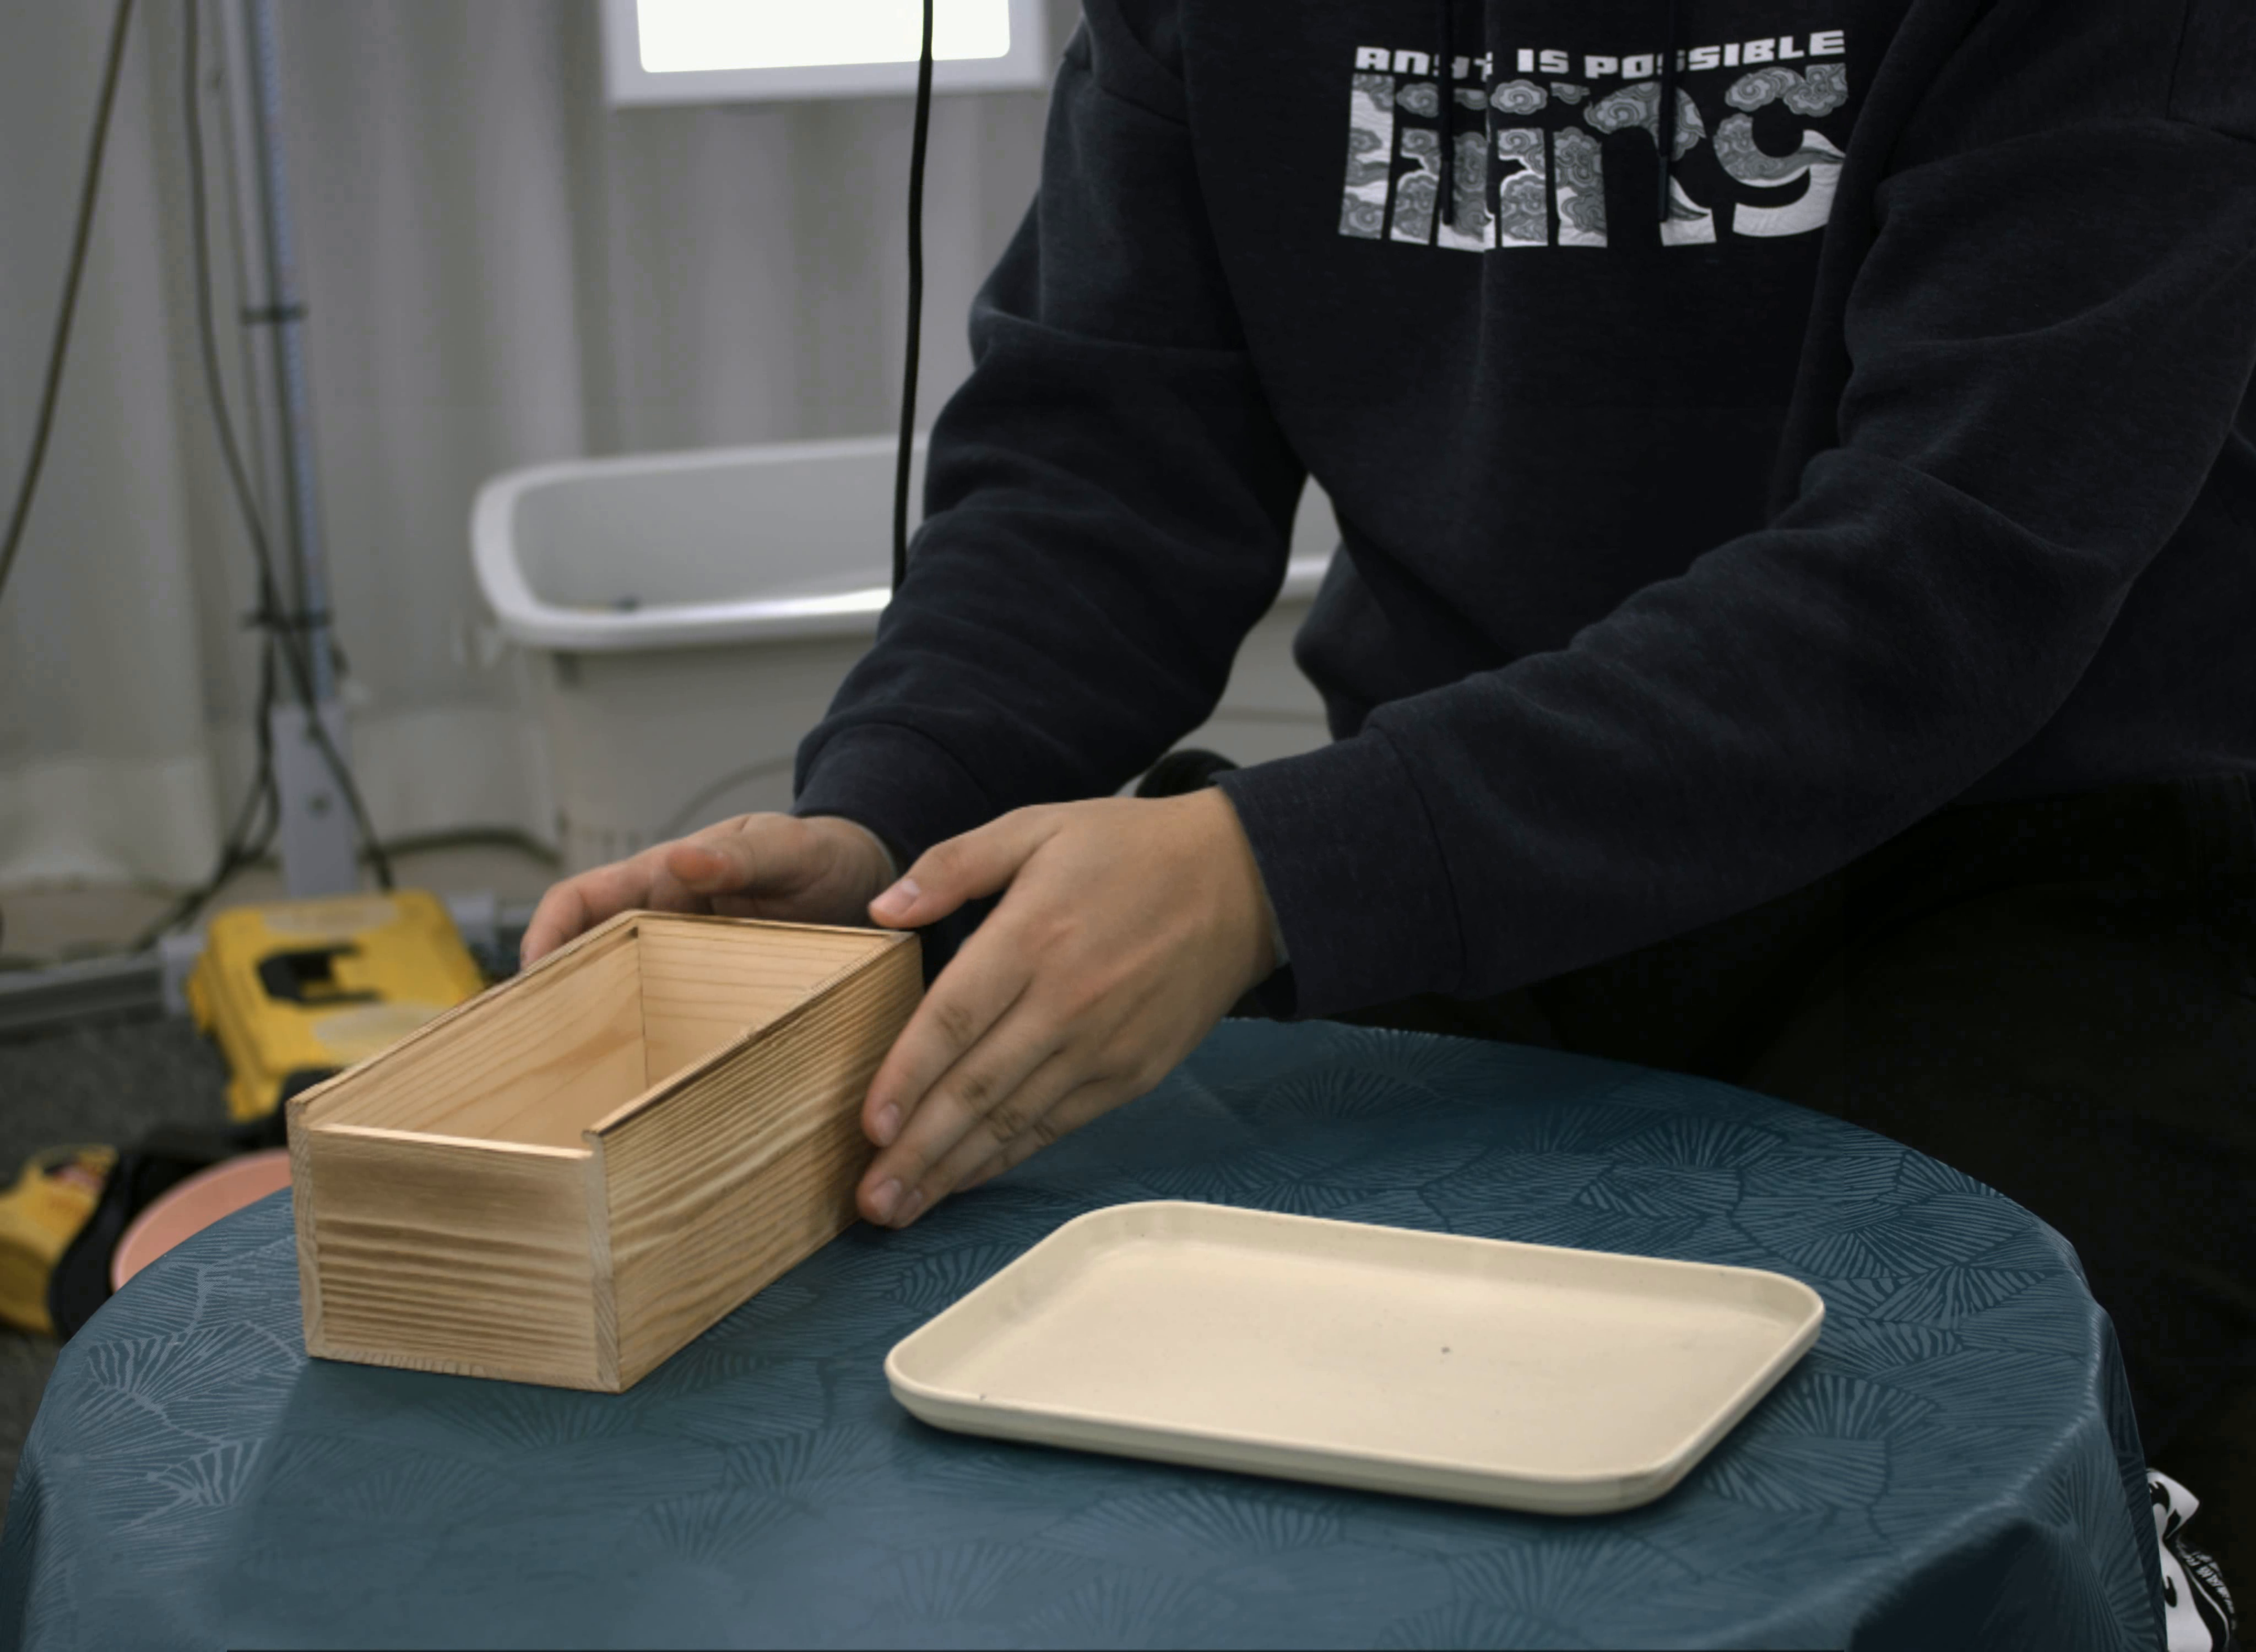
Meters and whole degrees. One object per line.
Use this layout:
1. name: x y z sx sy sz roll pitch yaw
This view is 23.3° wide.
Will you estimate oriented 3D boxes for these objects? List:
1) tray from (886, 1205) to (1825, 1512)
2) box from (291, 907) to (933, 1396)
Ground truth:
1. tray: 0.065 0.149 1.542 0.240 0.017 0.171 5 16 26
2. box: -0.152 0.095 1.665 0.107 0.080 0.212 4 16 23
